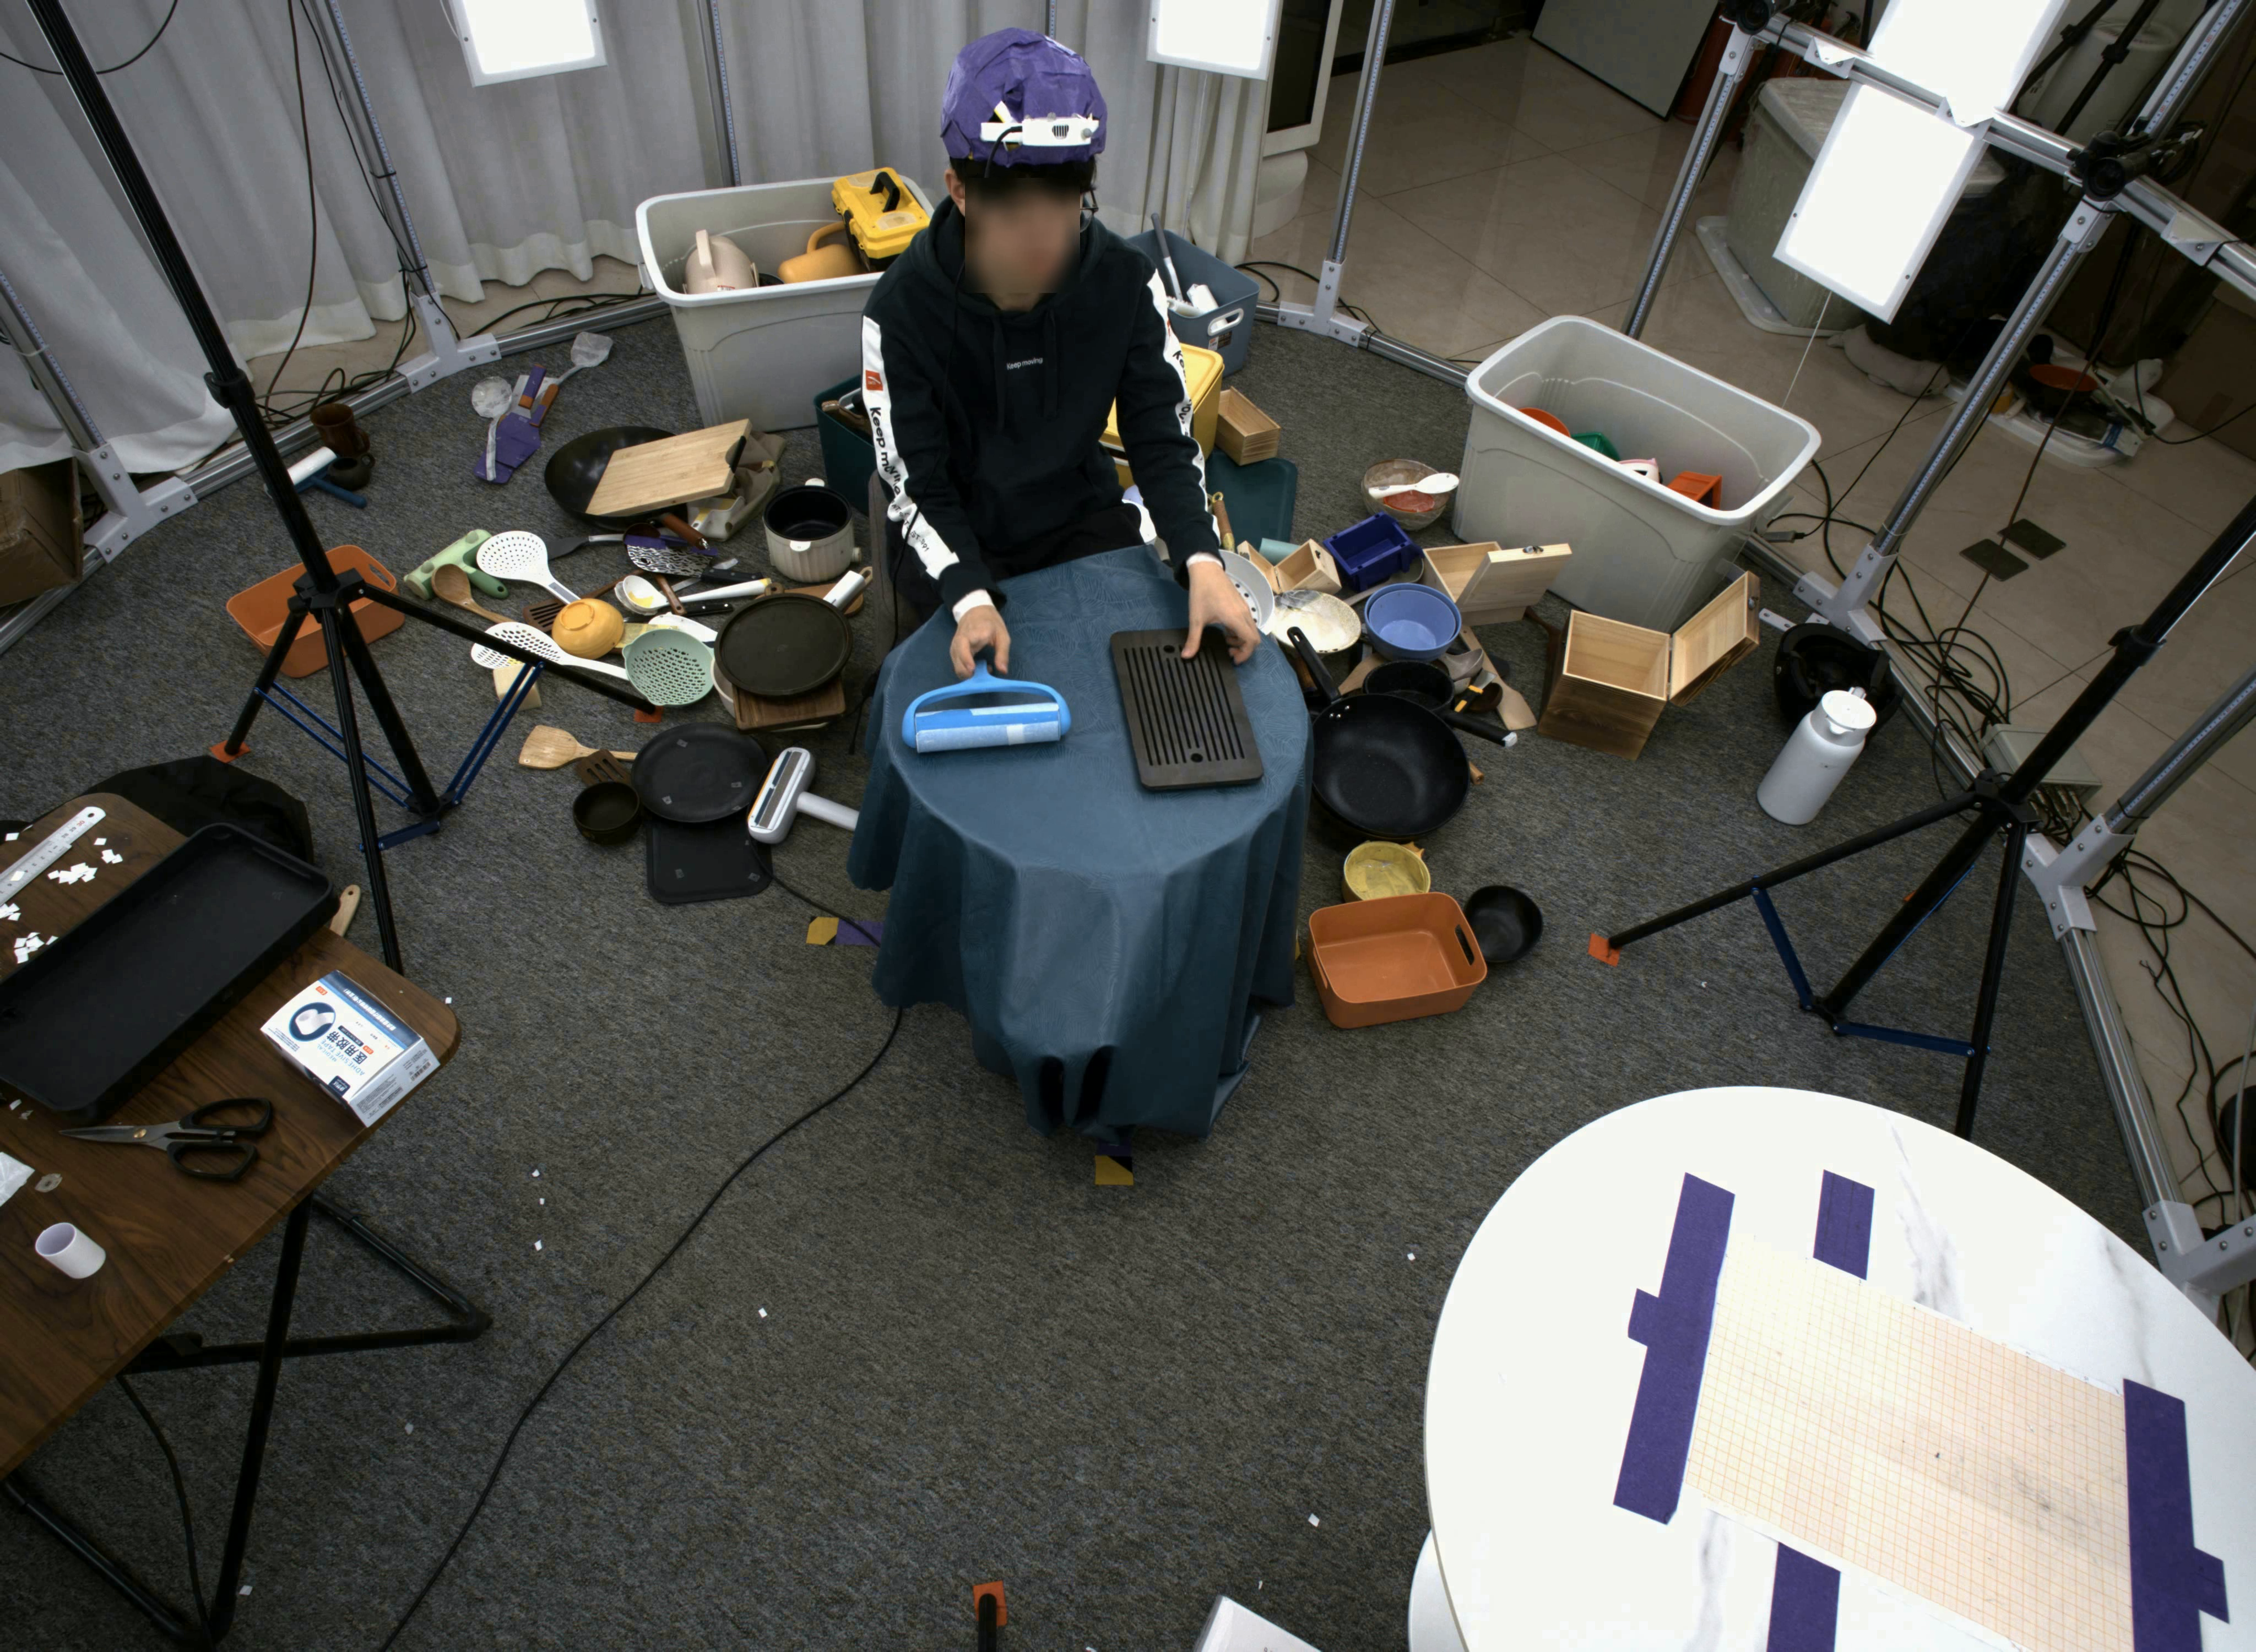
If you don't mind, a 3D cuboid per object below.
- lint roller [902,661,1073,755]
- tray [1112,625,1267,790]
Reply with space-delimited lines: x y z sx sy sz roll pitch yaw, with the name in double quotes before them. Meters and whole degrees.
"lint roller" -0.201 -0.180 1.773 0.229 0.066 0.185 -9 52 -9
"tray" 0.081 -0.171 1.810 0.170 0.018 0.314 -5 50 -8
